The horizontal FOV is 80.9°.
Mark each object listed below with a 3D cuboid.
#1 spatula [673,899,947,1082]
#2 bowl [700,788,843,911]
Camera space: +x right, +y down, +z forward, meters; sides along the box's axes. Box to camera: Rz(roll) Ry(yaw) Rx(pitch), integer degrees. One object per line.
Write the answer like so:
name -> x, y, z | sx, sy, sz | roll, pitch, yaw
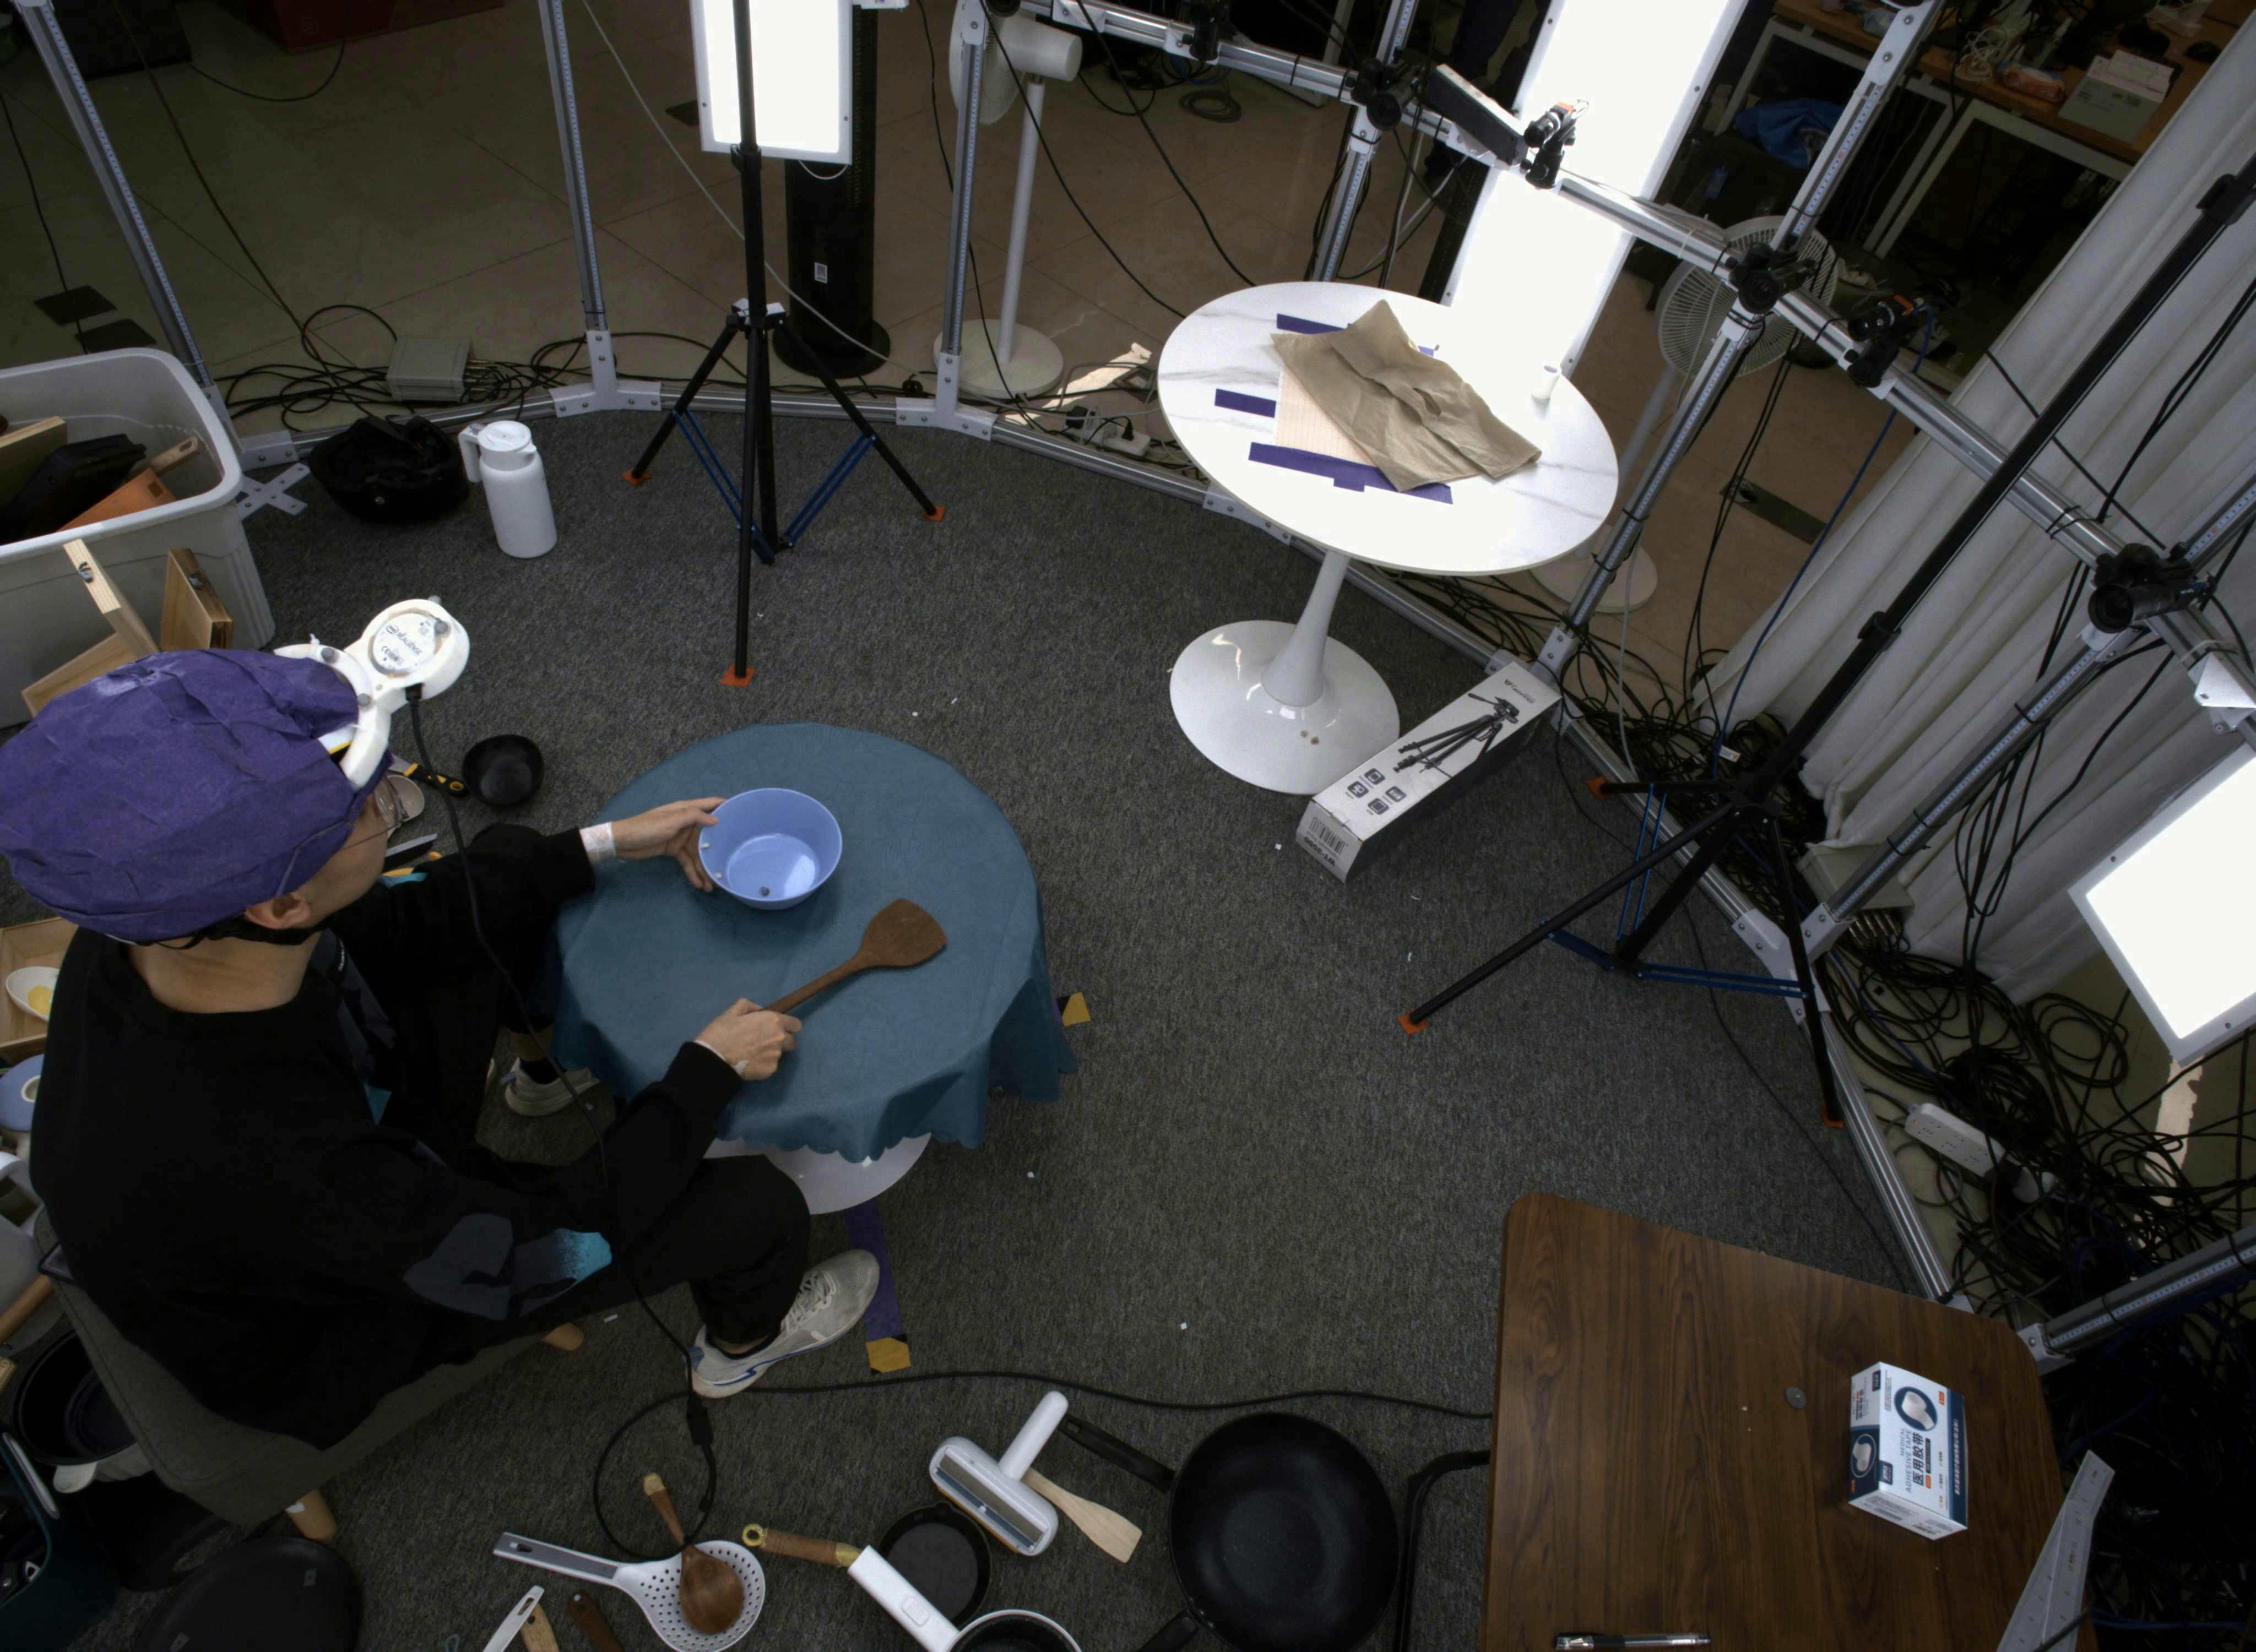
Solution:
spatula -> -0.382, 0.198, 1.565 | 0.094, 0.016, 0.387 | 42, 49, 18
bowl -> -0.451, 0.039, 1.648 | 0.175, 0.072, 0.173 | 7, 53, -8
